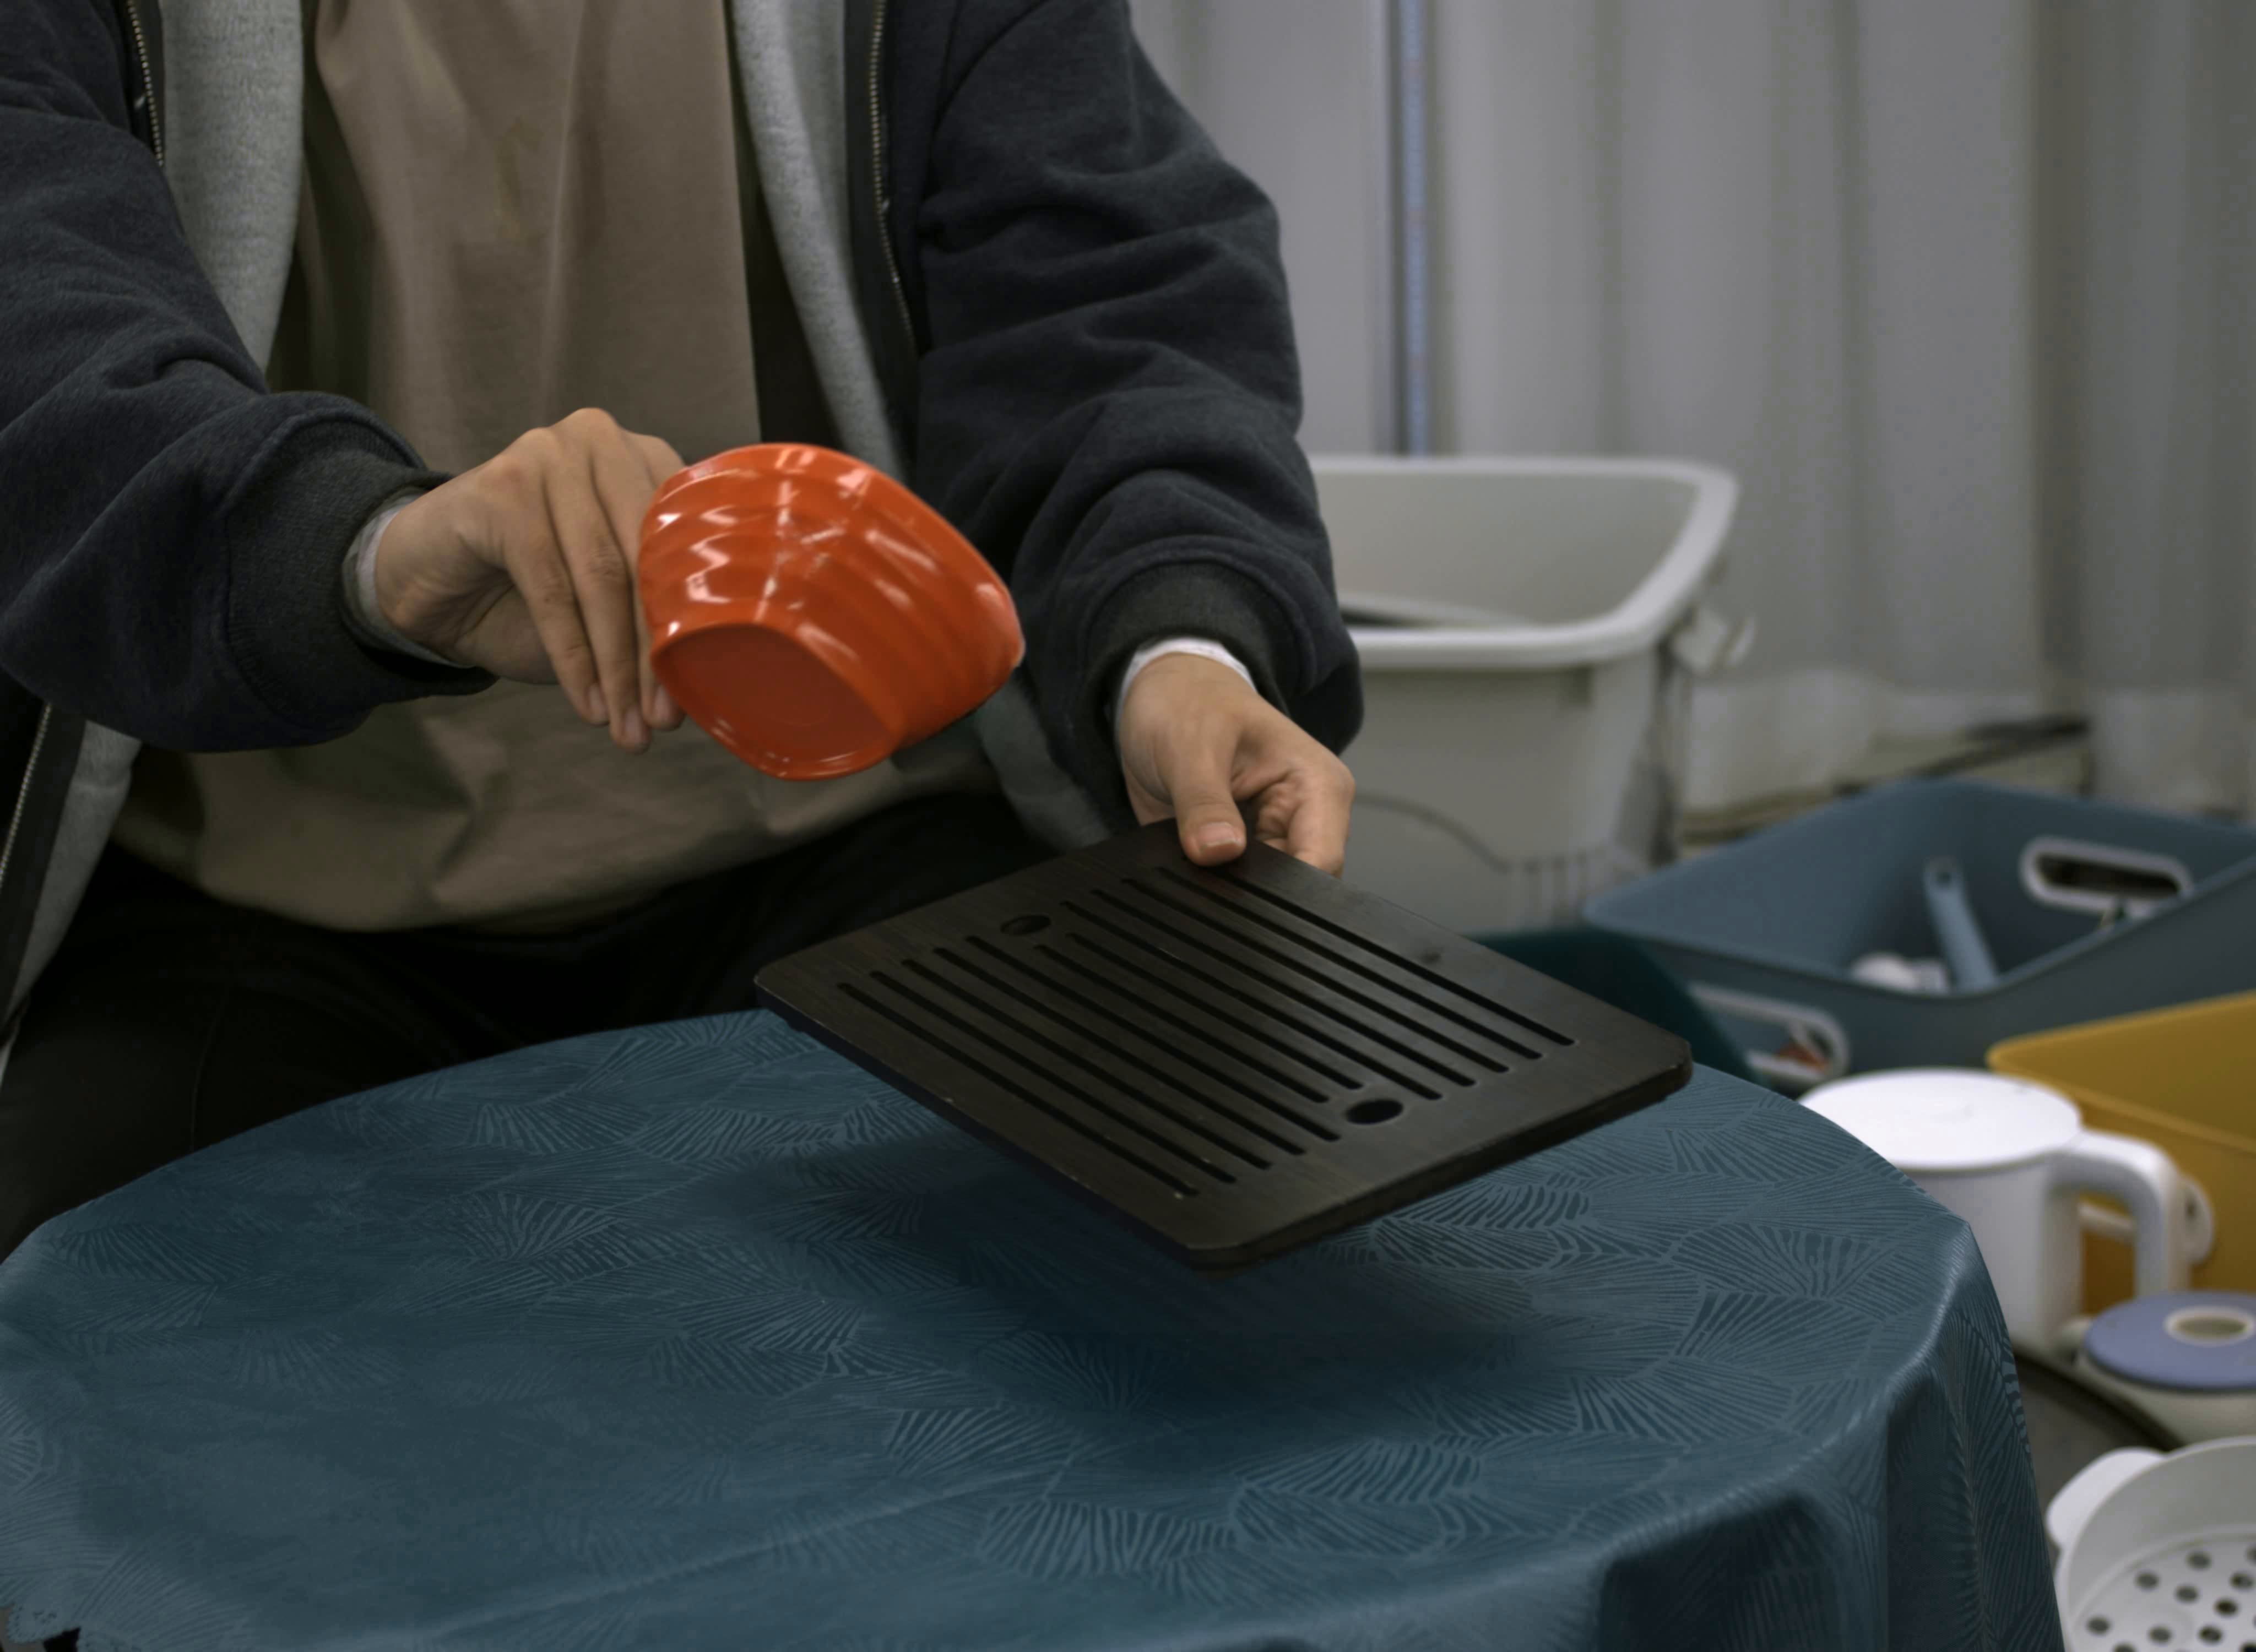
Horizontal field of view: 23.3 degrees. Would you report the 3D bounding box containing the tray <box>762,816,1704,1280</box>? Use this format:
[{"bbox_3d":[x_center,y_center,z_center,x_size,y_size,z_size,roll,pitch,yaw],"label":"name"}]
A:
[{"bbox_3d":[0.025,0.063,1.656,0.170,0.018,0.308,-20,22,-24],"label":"tray"}]

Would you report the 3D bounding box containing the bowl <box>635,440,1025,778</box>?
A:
[{"bbox_3d":[-0.094,-0.055,1.577,0.119,0.117,0.052,6,55,29],"label":"bowl"}]
